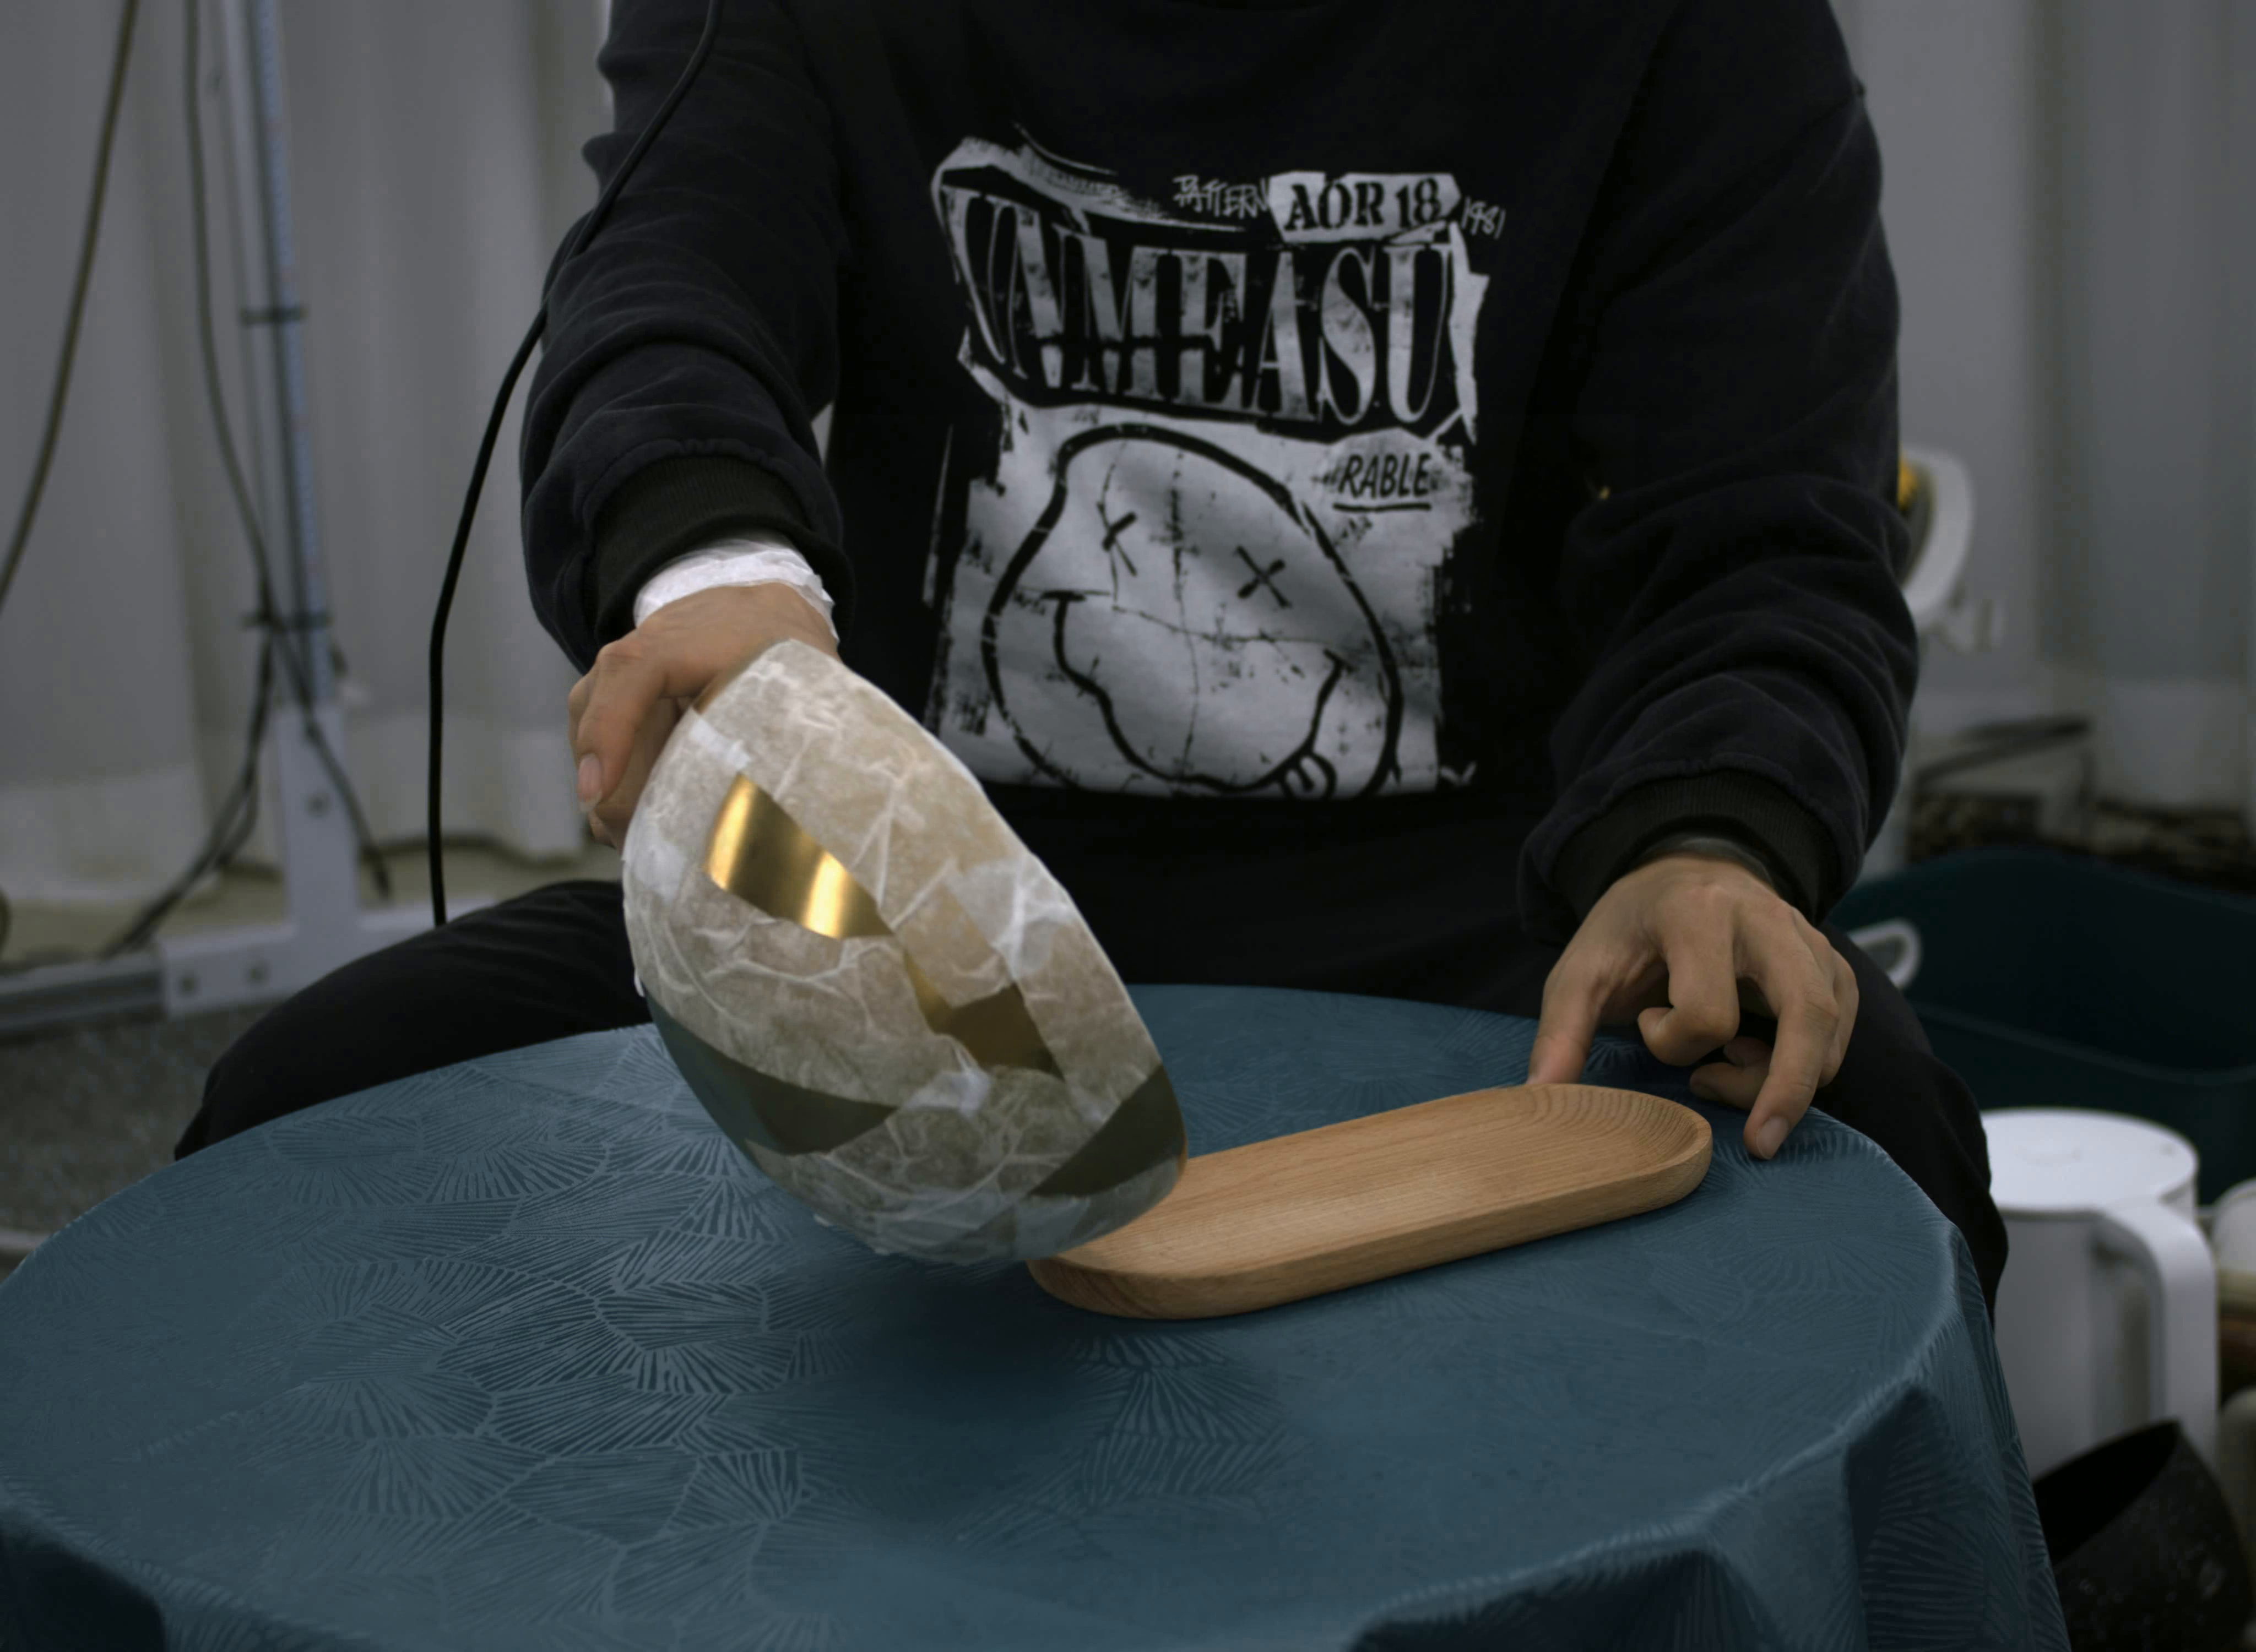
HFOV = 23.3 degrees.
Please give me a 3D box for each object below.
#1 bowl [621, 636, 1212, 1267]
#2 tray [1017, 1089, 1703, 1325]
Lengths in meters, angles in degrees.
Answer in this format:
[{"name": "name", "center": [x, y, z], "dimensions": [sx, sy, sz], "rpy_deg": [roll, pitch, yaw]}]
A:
[{"name": "bowl", "center": [-0.080, 0.055, 1.572], "dimensions": [0.095, 0.212, 0.216], "rpy_deg": [-38, 27, -17]}, {"name": "tray", "center": [0.073, 0.116, 1.668], "dimensions": [0.230, 0.020, 0.102], "rpy_deg": [-13, 16, -29]}]
